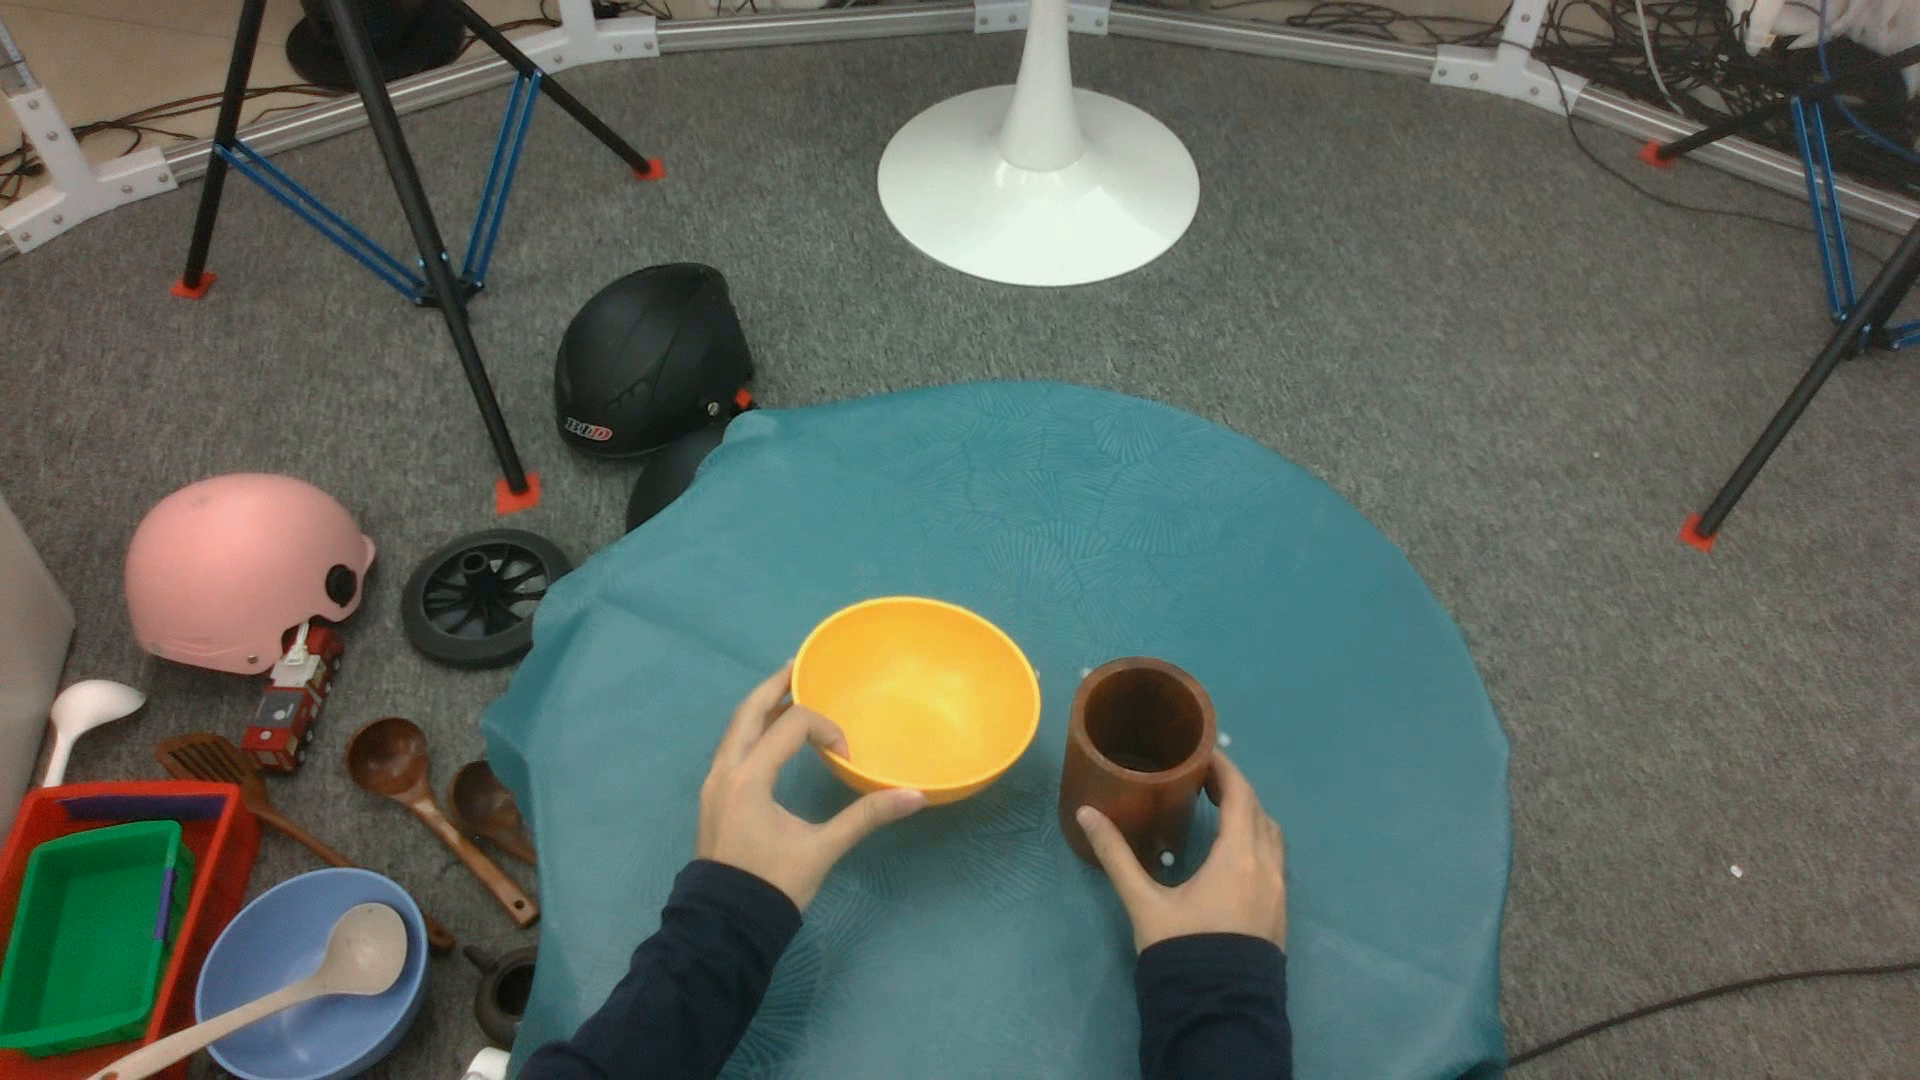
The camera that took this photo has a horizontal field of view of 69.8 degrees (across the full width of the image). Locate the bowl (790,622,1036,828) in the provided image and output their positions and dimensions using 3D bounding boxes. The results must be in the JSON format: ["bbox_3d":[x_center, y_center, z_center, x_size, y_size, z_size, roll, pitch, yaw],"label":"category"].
[{"bbox_3d":[-0.030,0.120,0.824,0.145,0.060,0.146,6,42,-5],"label":"bowl"}]

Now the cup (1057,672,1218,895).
[{"bbox_3d":[0.100,0.142,0.788,0.088,0.118,0.088,-2,50,3],"label":"cup"}]
